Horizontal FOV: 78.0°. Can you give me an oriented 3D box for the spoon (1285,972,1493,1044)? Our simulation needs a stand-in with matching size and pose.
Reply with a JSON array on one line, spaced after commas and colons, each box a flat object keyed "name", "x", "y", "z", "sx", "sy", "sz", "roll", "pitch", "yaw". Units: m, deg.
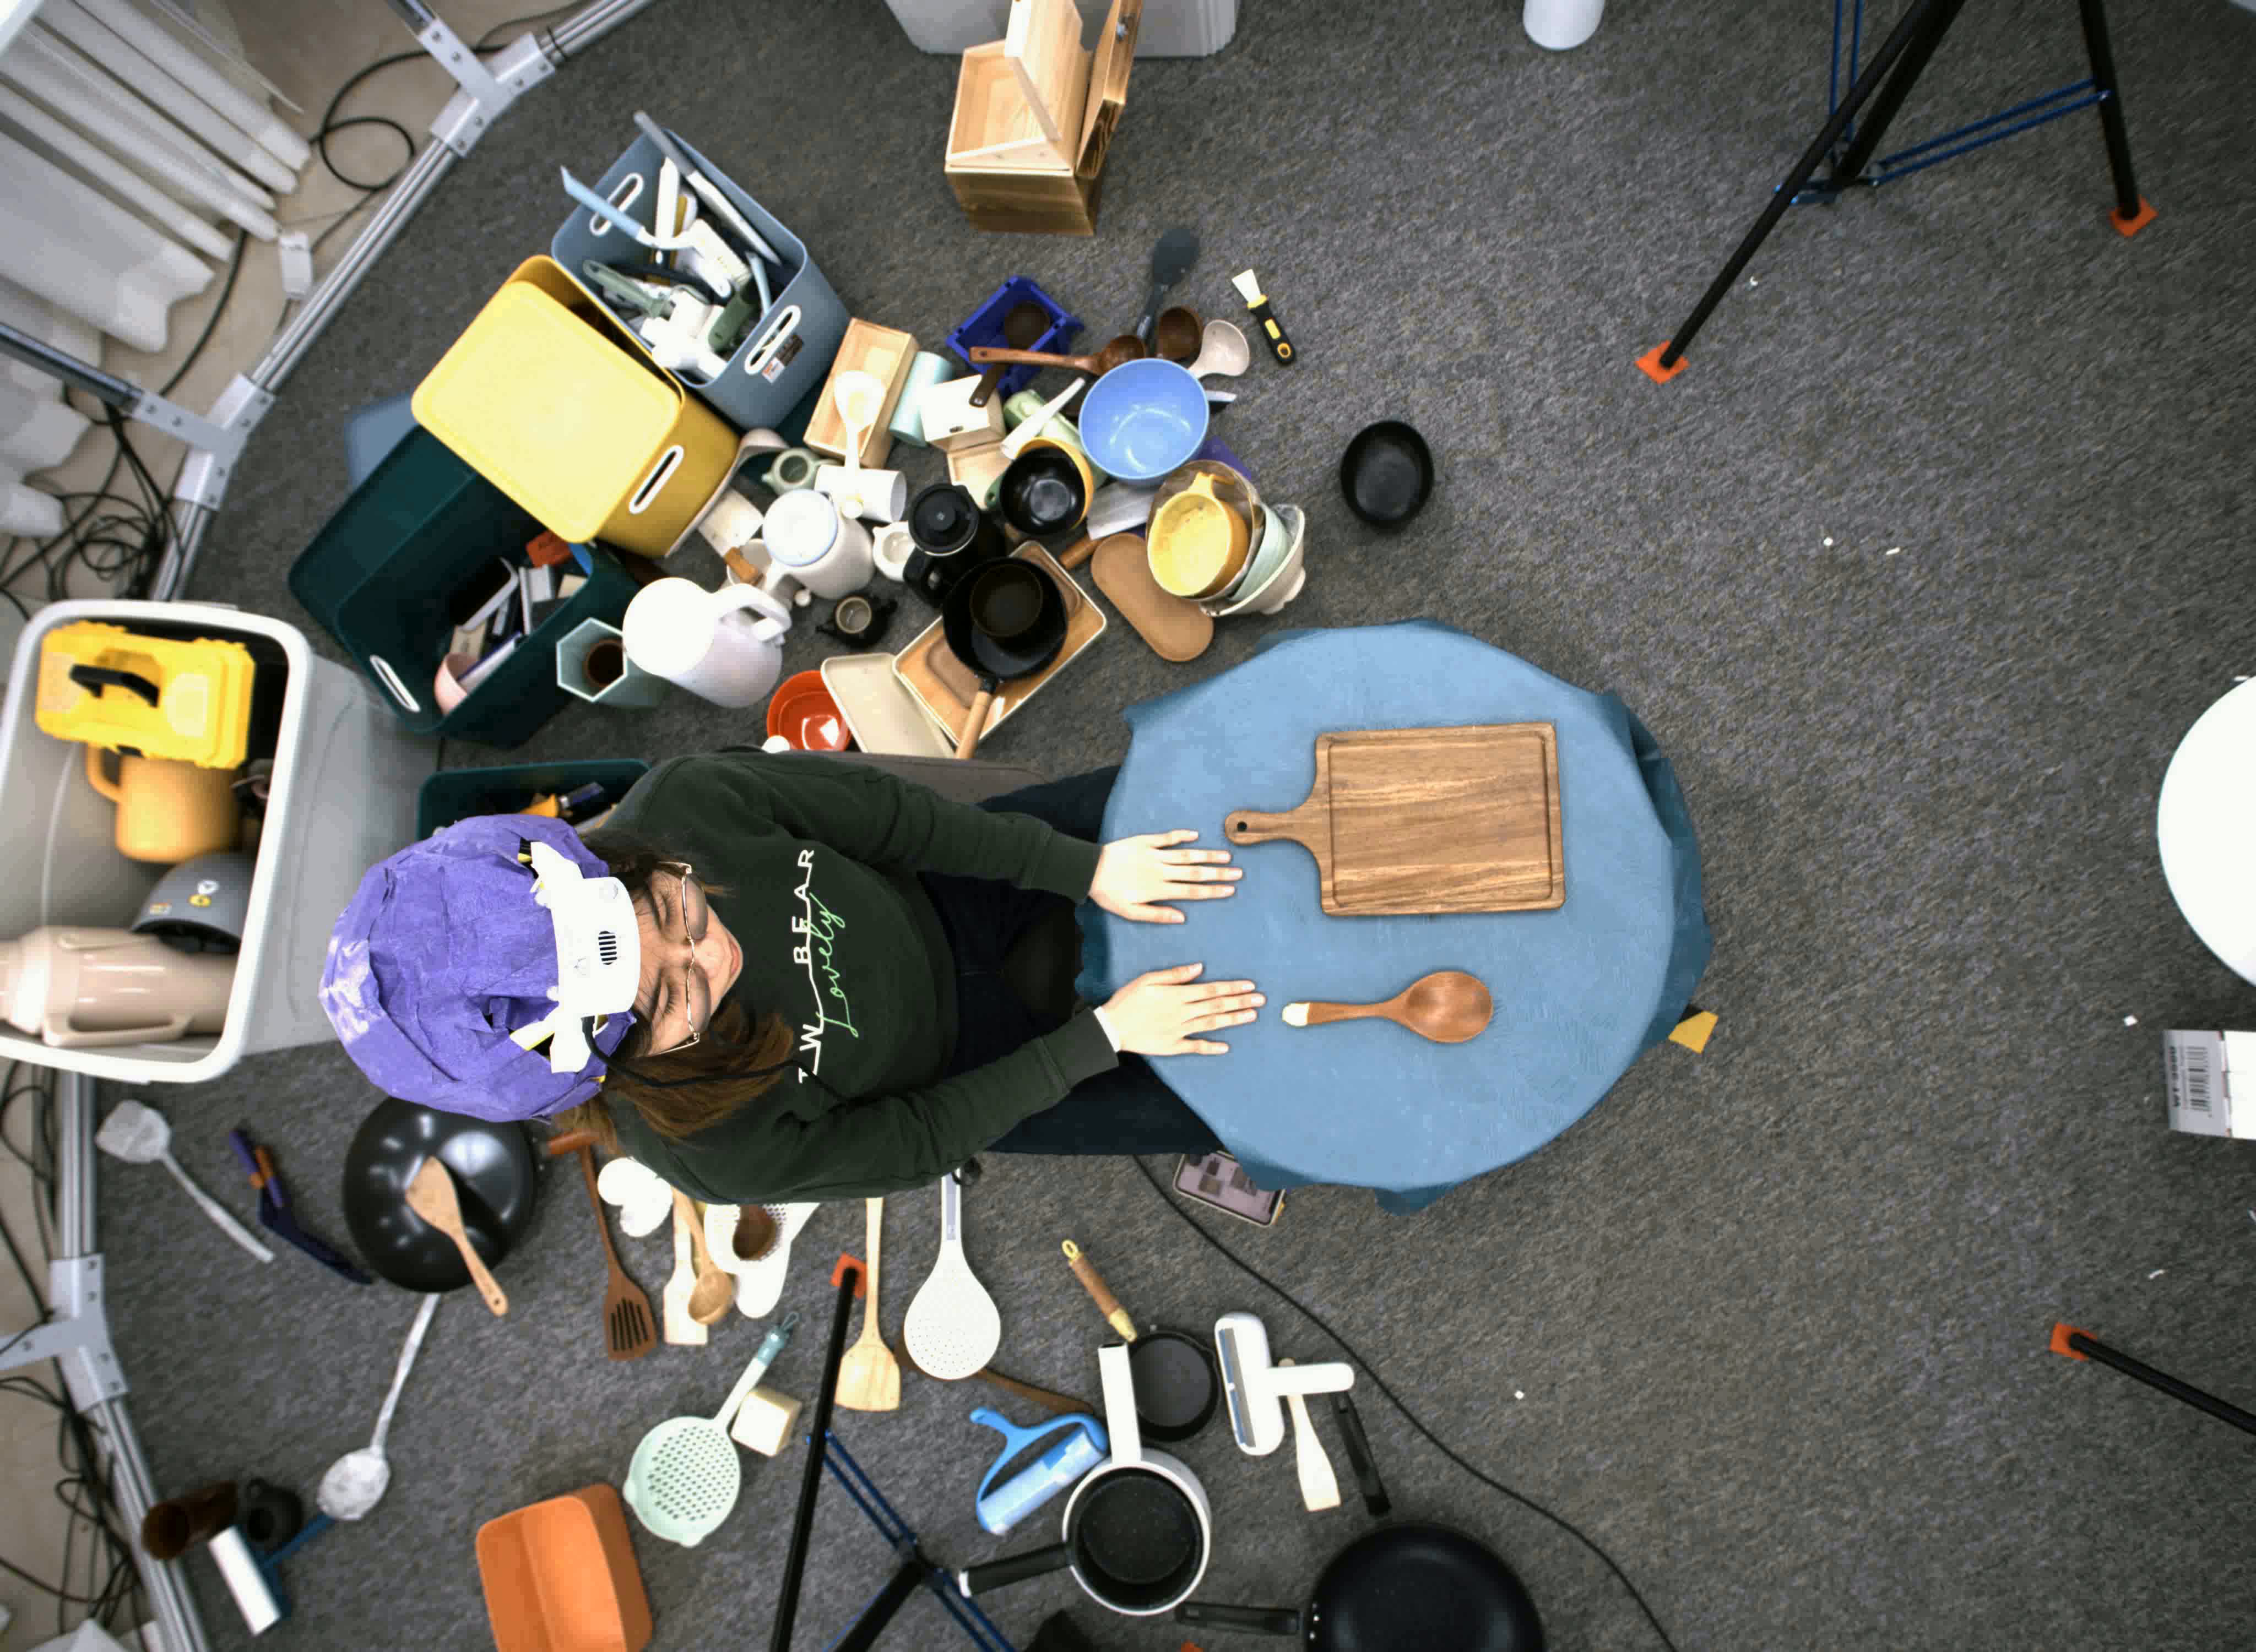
[{"name": "spoon", "x": 0.272, "y": 0.192, "z": 1.447, "sx": 0.217, "sy": 0.017, "sz": 0.075, "roll": -4, "pitch": 87, "yaw": 9}]

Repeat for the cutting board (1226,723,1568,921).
[{"name": "cutting board", "x": 0.279, "y": -0.003, "z": 1.459, "sx": 0.353, "sy": 0.023, "sz": 0.200, "roll": -3, "pitch": 86, "yaw": 10}]
